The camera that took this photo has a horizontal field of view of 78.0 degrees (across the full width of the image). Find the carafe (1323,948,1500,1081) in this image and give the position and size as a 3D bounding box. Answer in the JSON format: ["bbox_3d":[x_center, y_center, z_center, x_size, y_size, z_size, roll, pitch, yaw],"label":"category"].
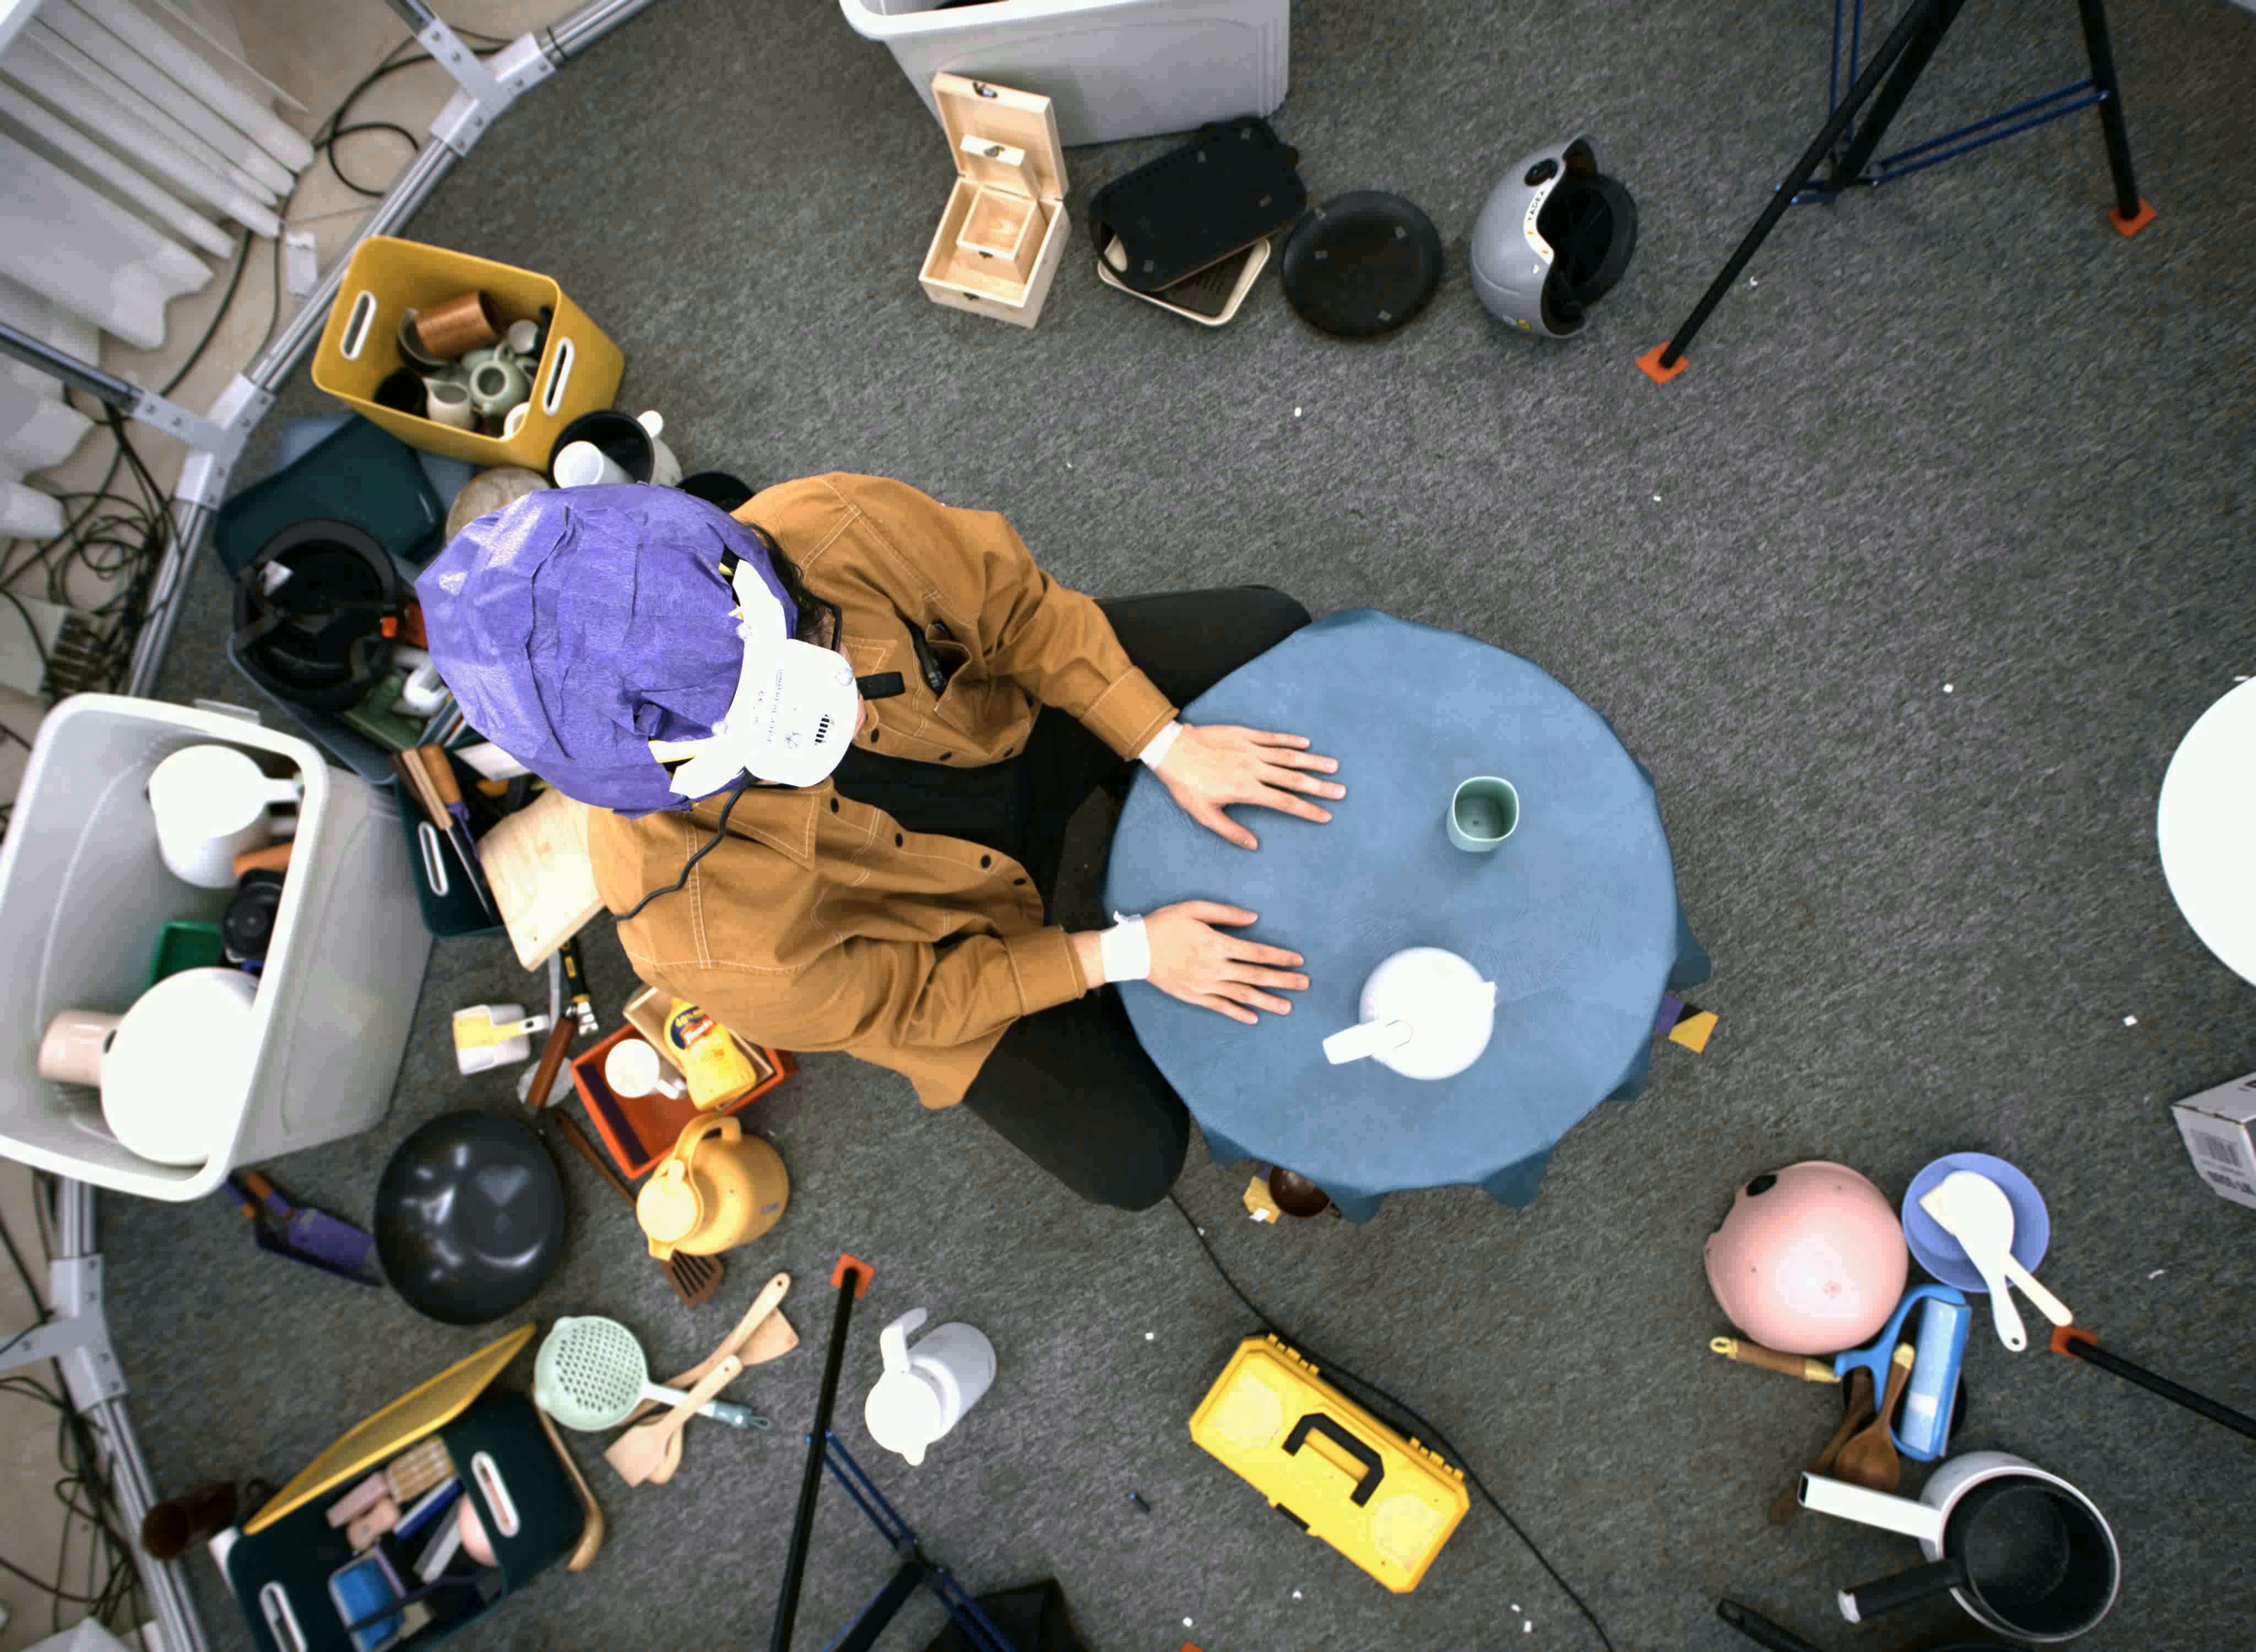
[{"bbox_3d":[0.270,0.188,1.330,0.169,0.249,0.131,-23,82,8],"label":"carafe"}]

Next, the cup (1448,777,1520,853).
[{"bbox_3d":[0.356,-0.011,1.386,0.067,0.132,0.066,-1,84,11],"label":"cup"}]
